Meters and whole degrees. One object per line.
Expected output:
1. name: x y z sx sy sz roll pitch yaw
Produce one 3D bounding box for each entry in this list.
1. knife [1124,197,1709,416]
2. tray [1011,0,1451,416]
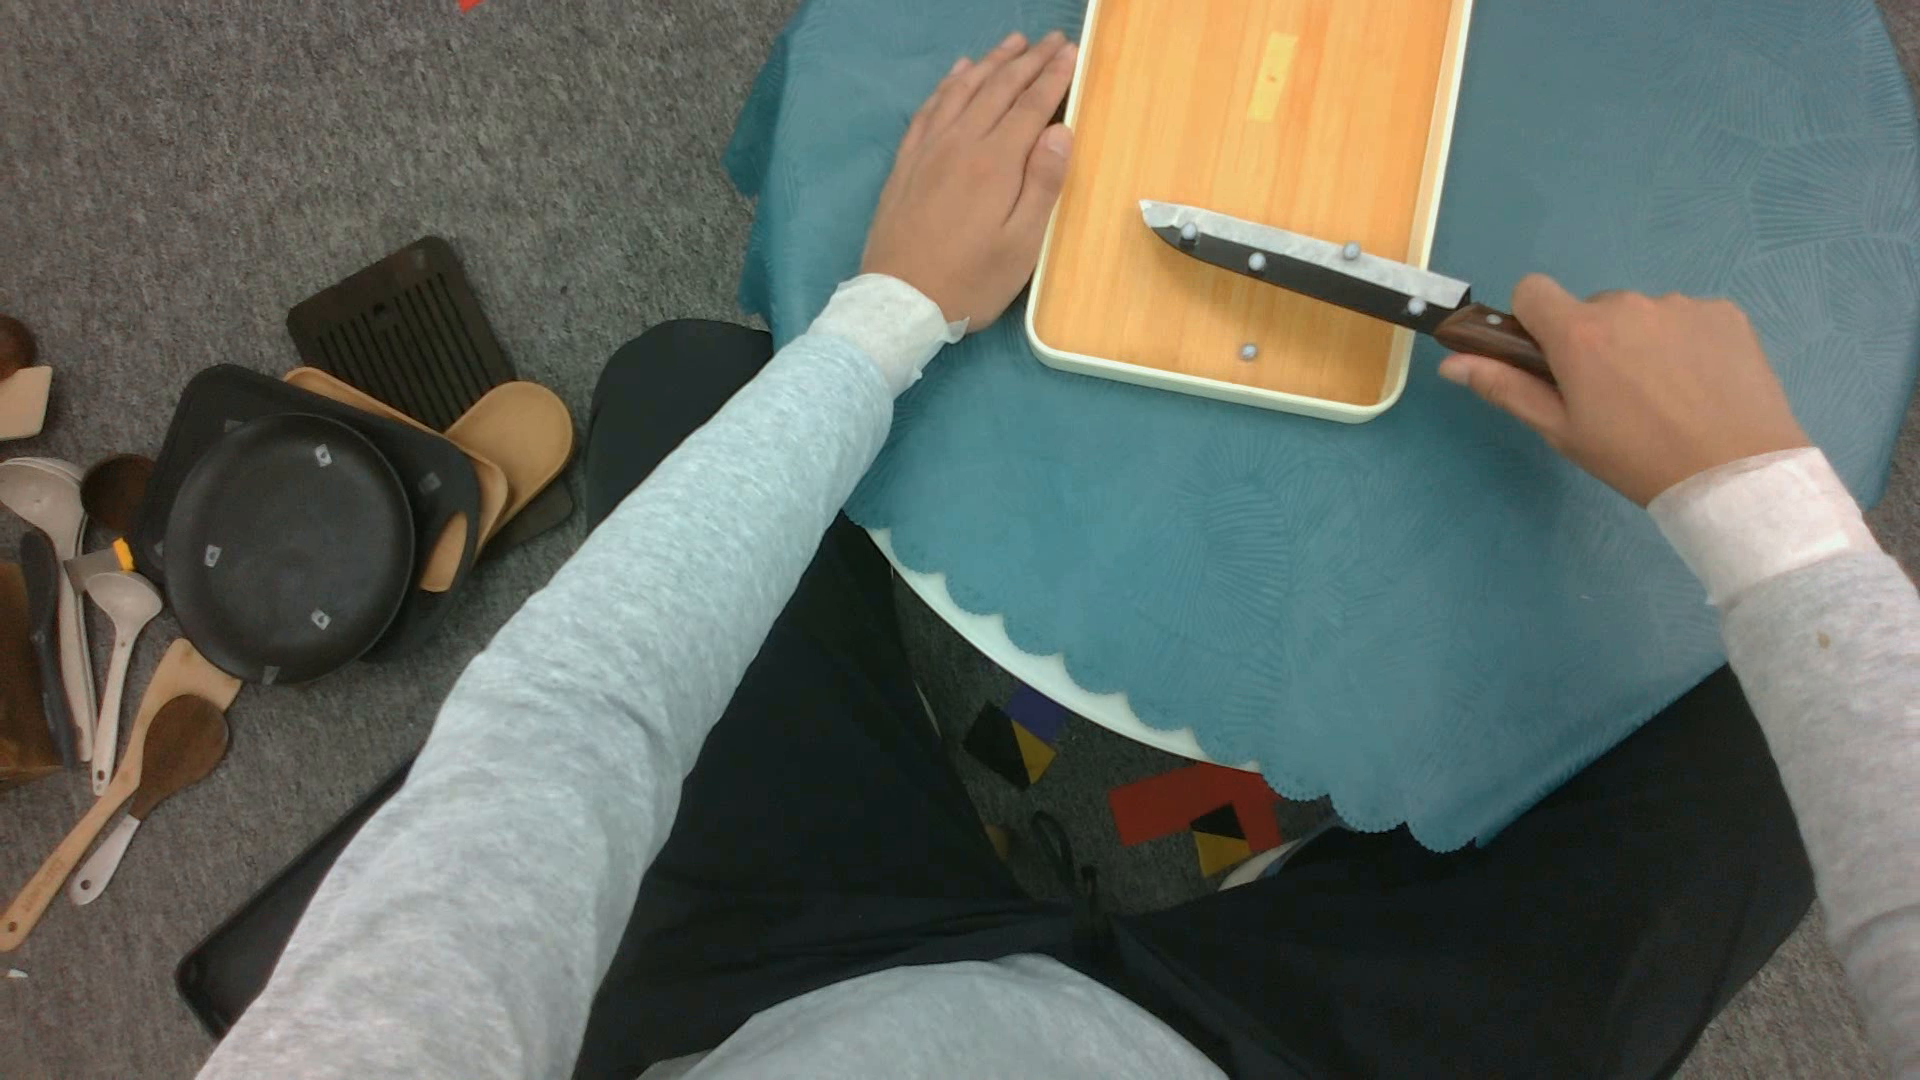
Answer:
1. knife: 0.206 -0.118 0.656 0.289 0.020 0.050 25 50 21
2. tray: 0.145 -0.223 0.714 0.191 0.027 0.300 11 82 4
